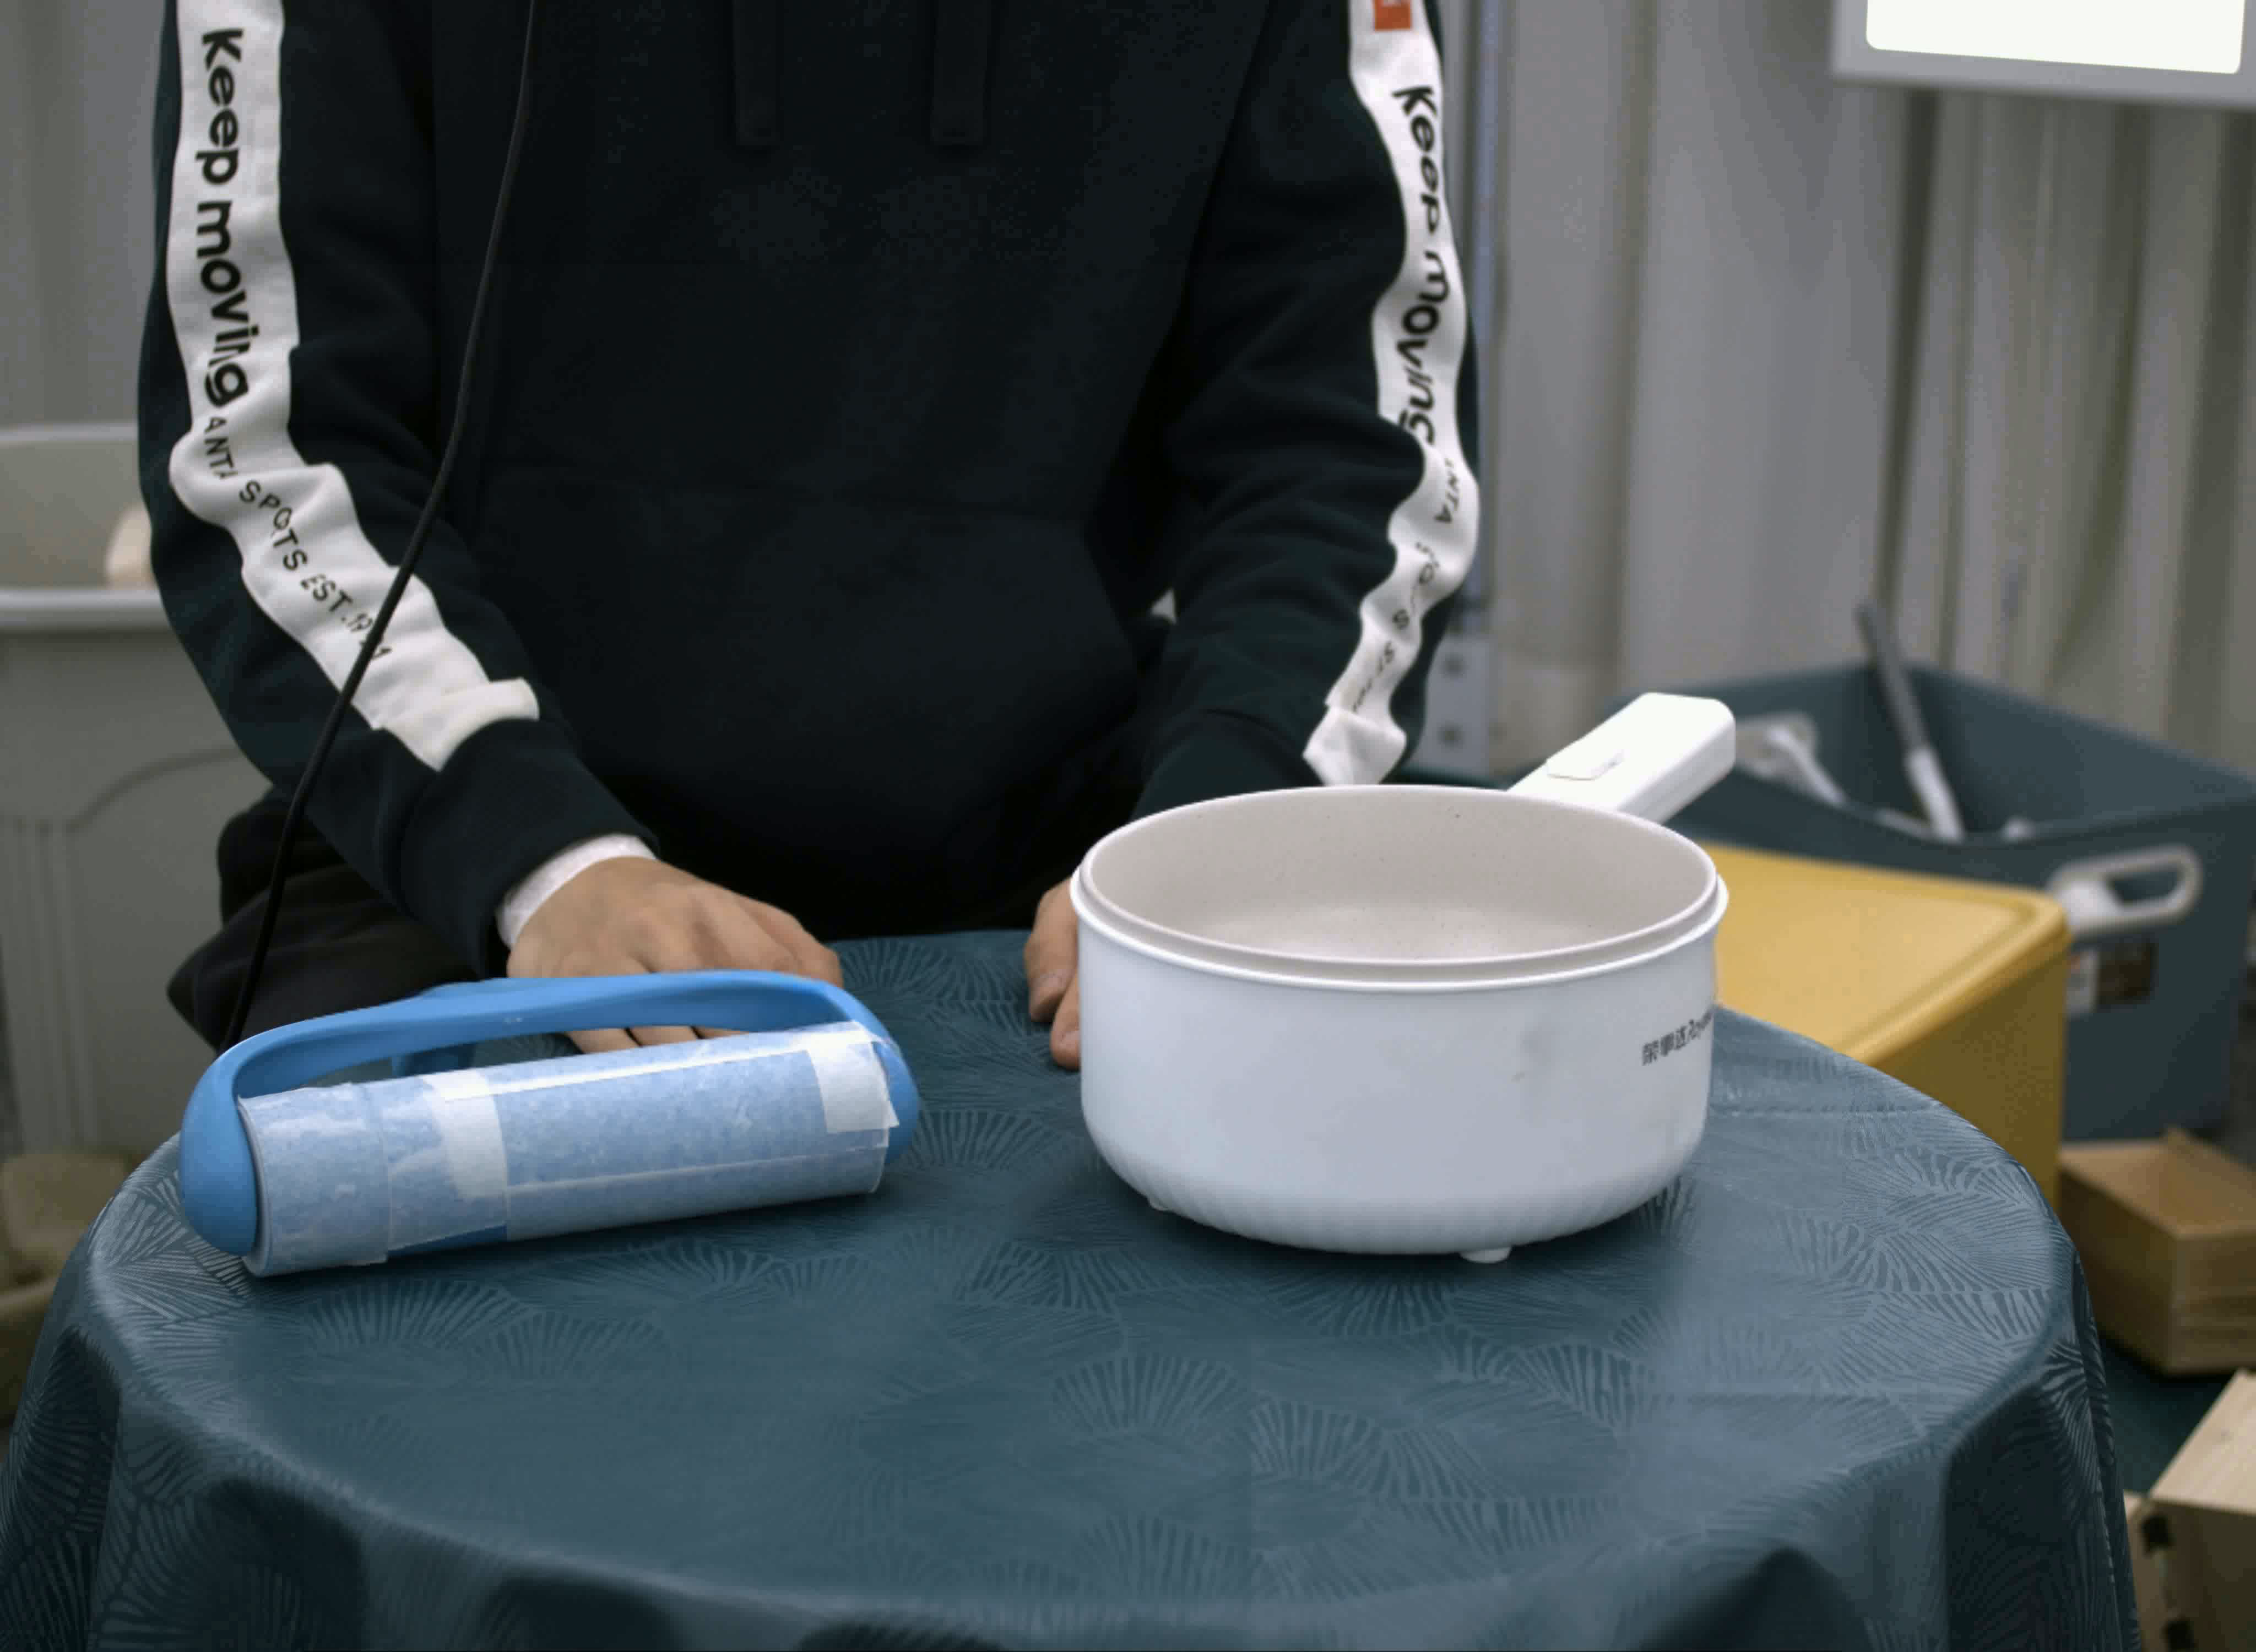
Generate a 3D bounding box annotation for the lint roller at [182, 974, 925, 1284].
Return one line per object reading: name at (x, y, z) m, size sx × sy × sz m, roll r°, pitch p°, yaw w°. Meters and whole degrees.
lint roller at (-0.194, 0.080, 1.622) m, size 0.230 × 0.068 × 0.178 m, roll -9°, pitch 19°, yaw -25°

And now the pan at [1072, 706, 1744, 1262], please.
pan at (0.116, 0.044, 1.683) m, size 0.199 × 0.103 × 0.355 m, roll 7°, pitch 16°, yaw 25°
